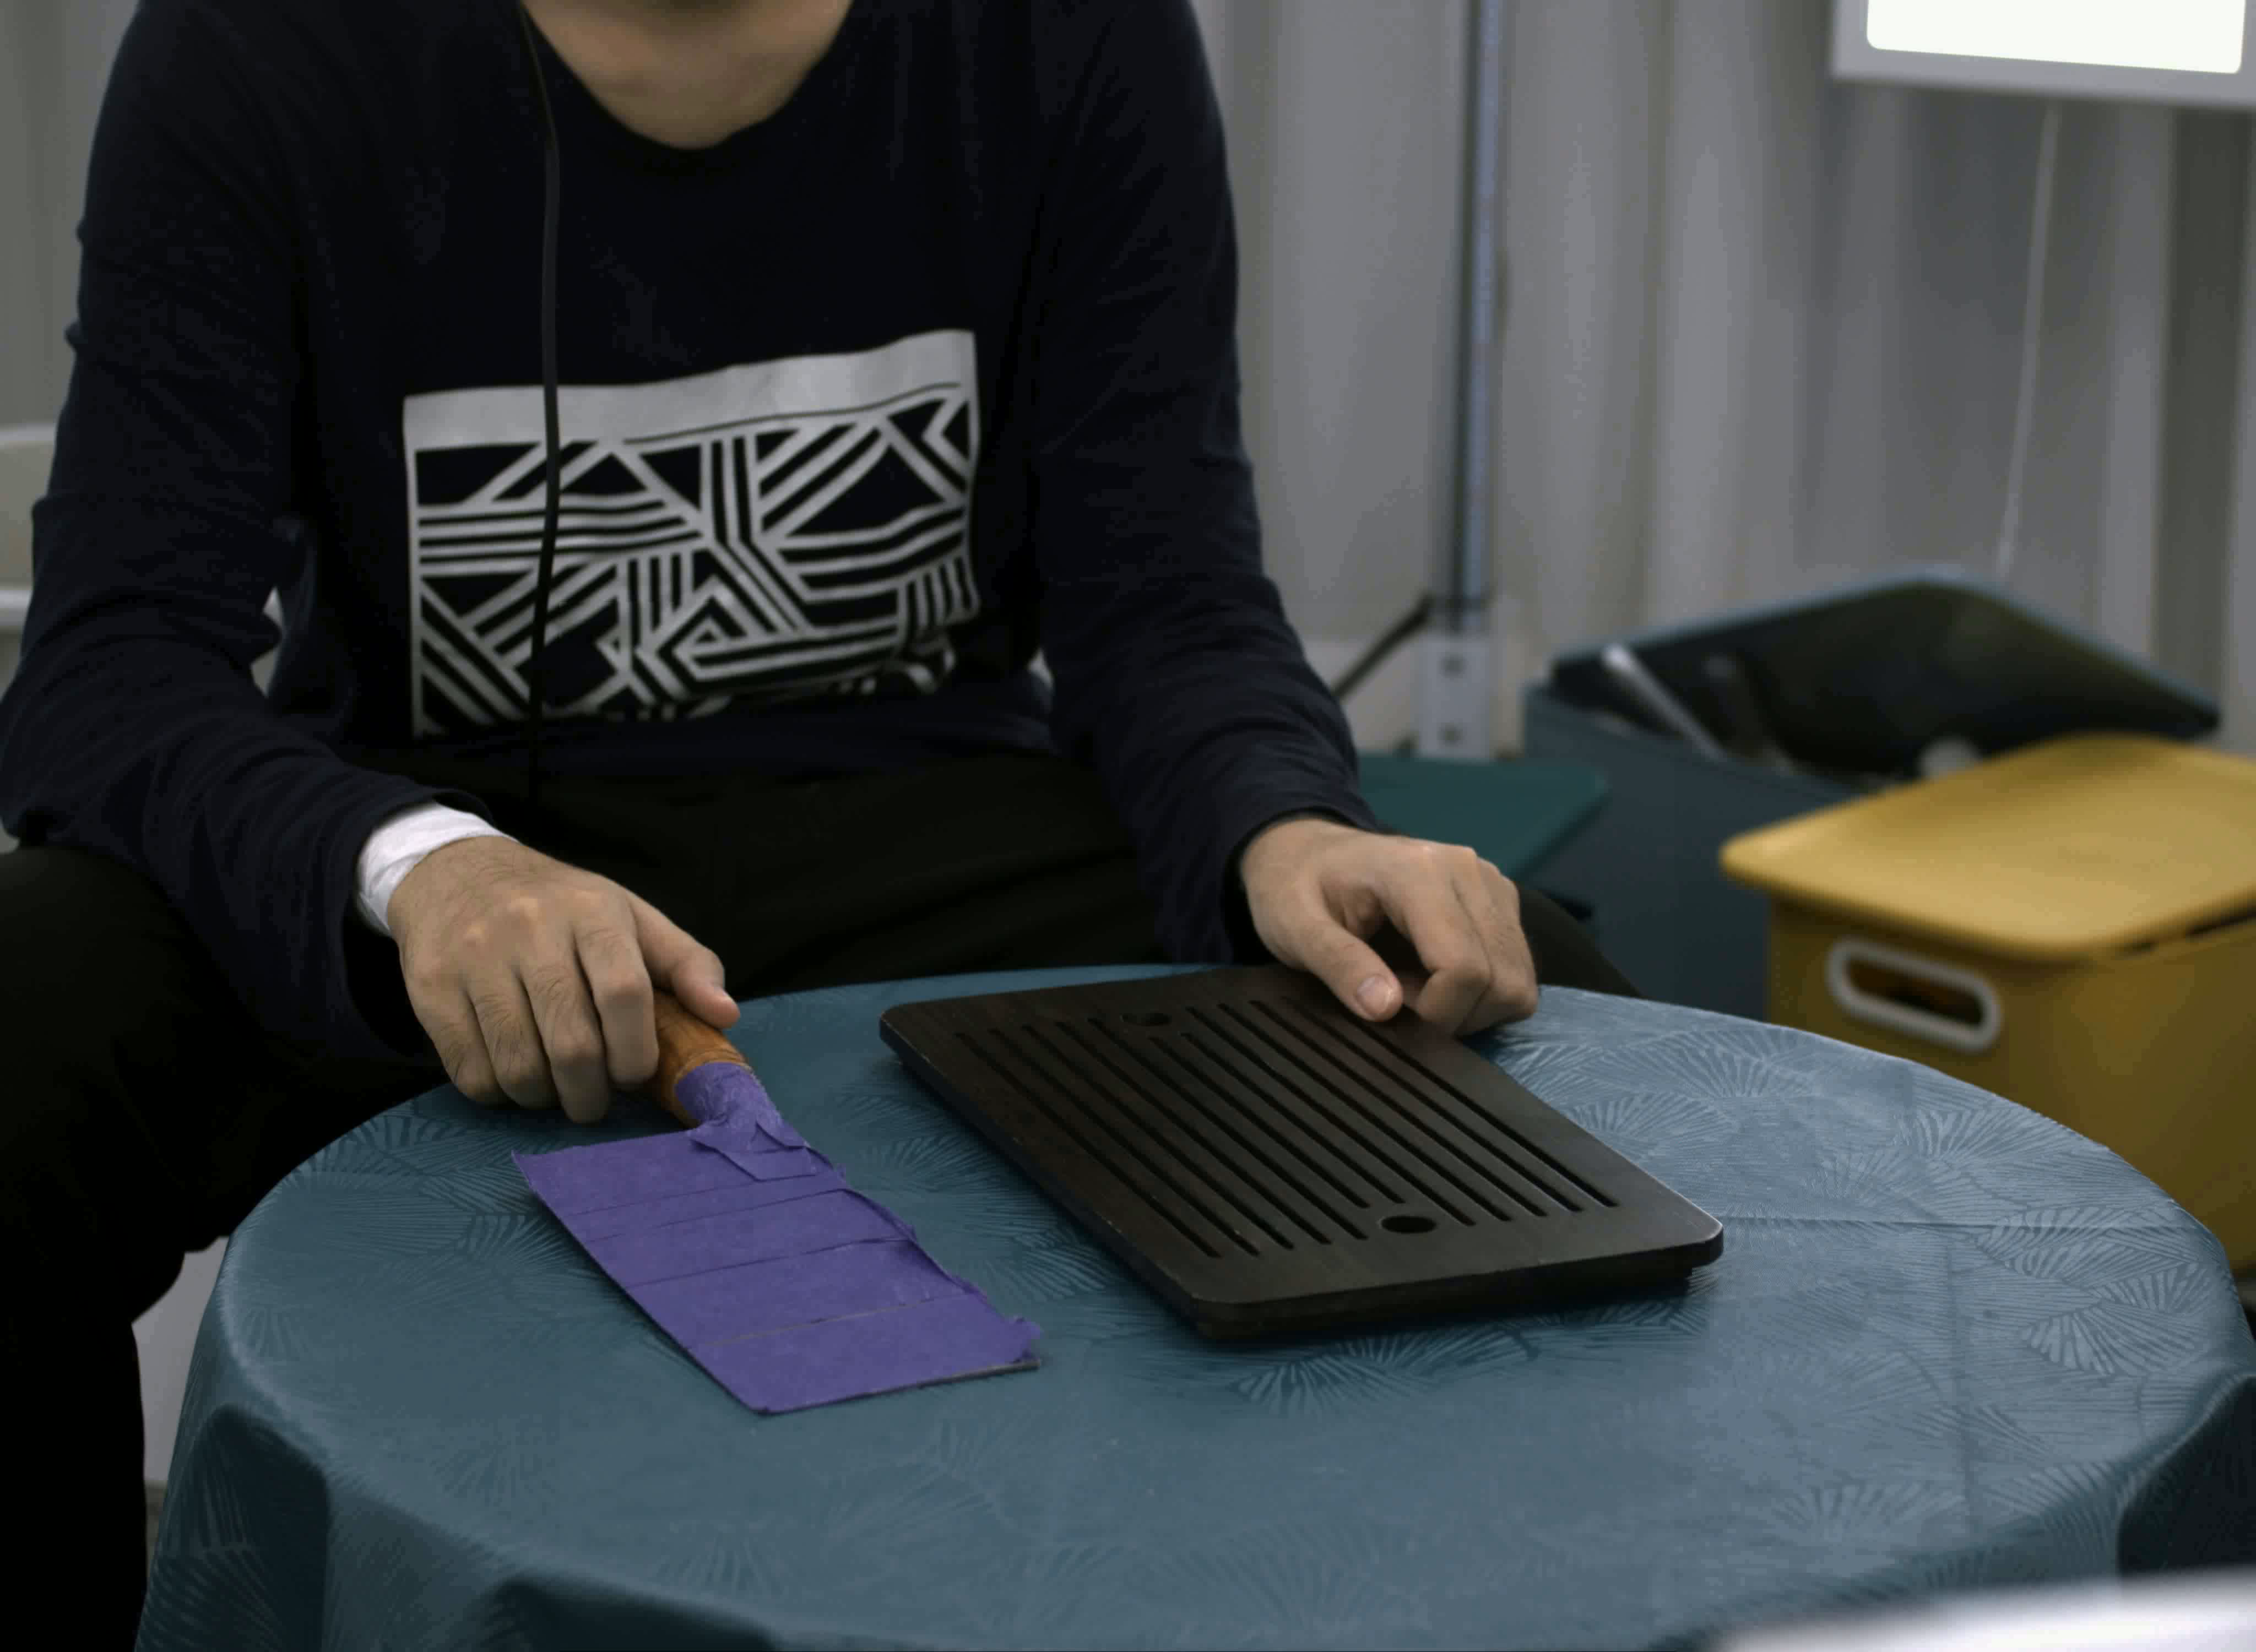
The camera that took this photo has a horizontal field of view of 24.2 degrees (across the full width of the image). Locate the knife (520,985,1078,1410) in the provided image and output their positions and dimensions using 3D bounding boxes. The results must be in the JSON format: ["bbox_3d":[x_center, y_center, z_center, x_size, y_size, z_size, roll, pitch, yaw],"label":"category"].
[{"bbox_3d":[-0.126,0.108,1.587,0.104,0.032,0.311,-7,17,-26],"label":"knife"}]

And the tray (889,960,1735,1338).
[{"bbox_3d":[0.050,0.097,1.648,0.170,0.019,0.302,-5,16,-21],"label":"tray"}]
